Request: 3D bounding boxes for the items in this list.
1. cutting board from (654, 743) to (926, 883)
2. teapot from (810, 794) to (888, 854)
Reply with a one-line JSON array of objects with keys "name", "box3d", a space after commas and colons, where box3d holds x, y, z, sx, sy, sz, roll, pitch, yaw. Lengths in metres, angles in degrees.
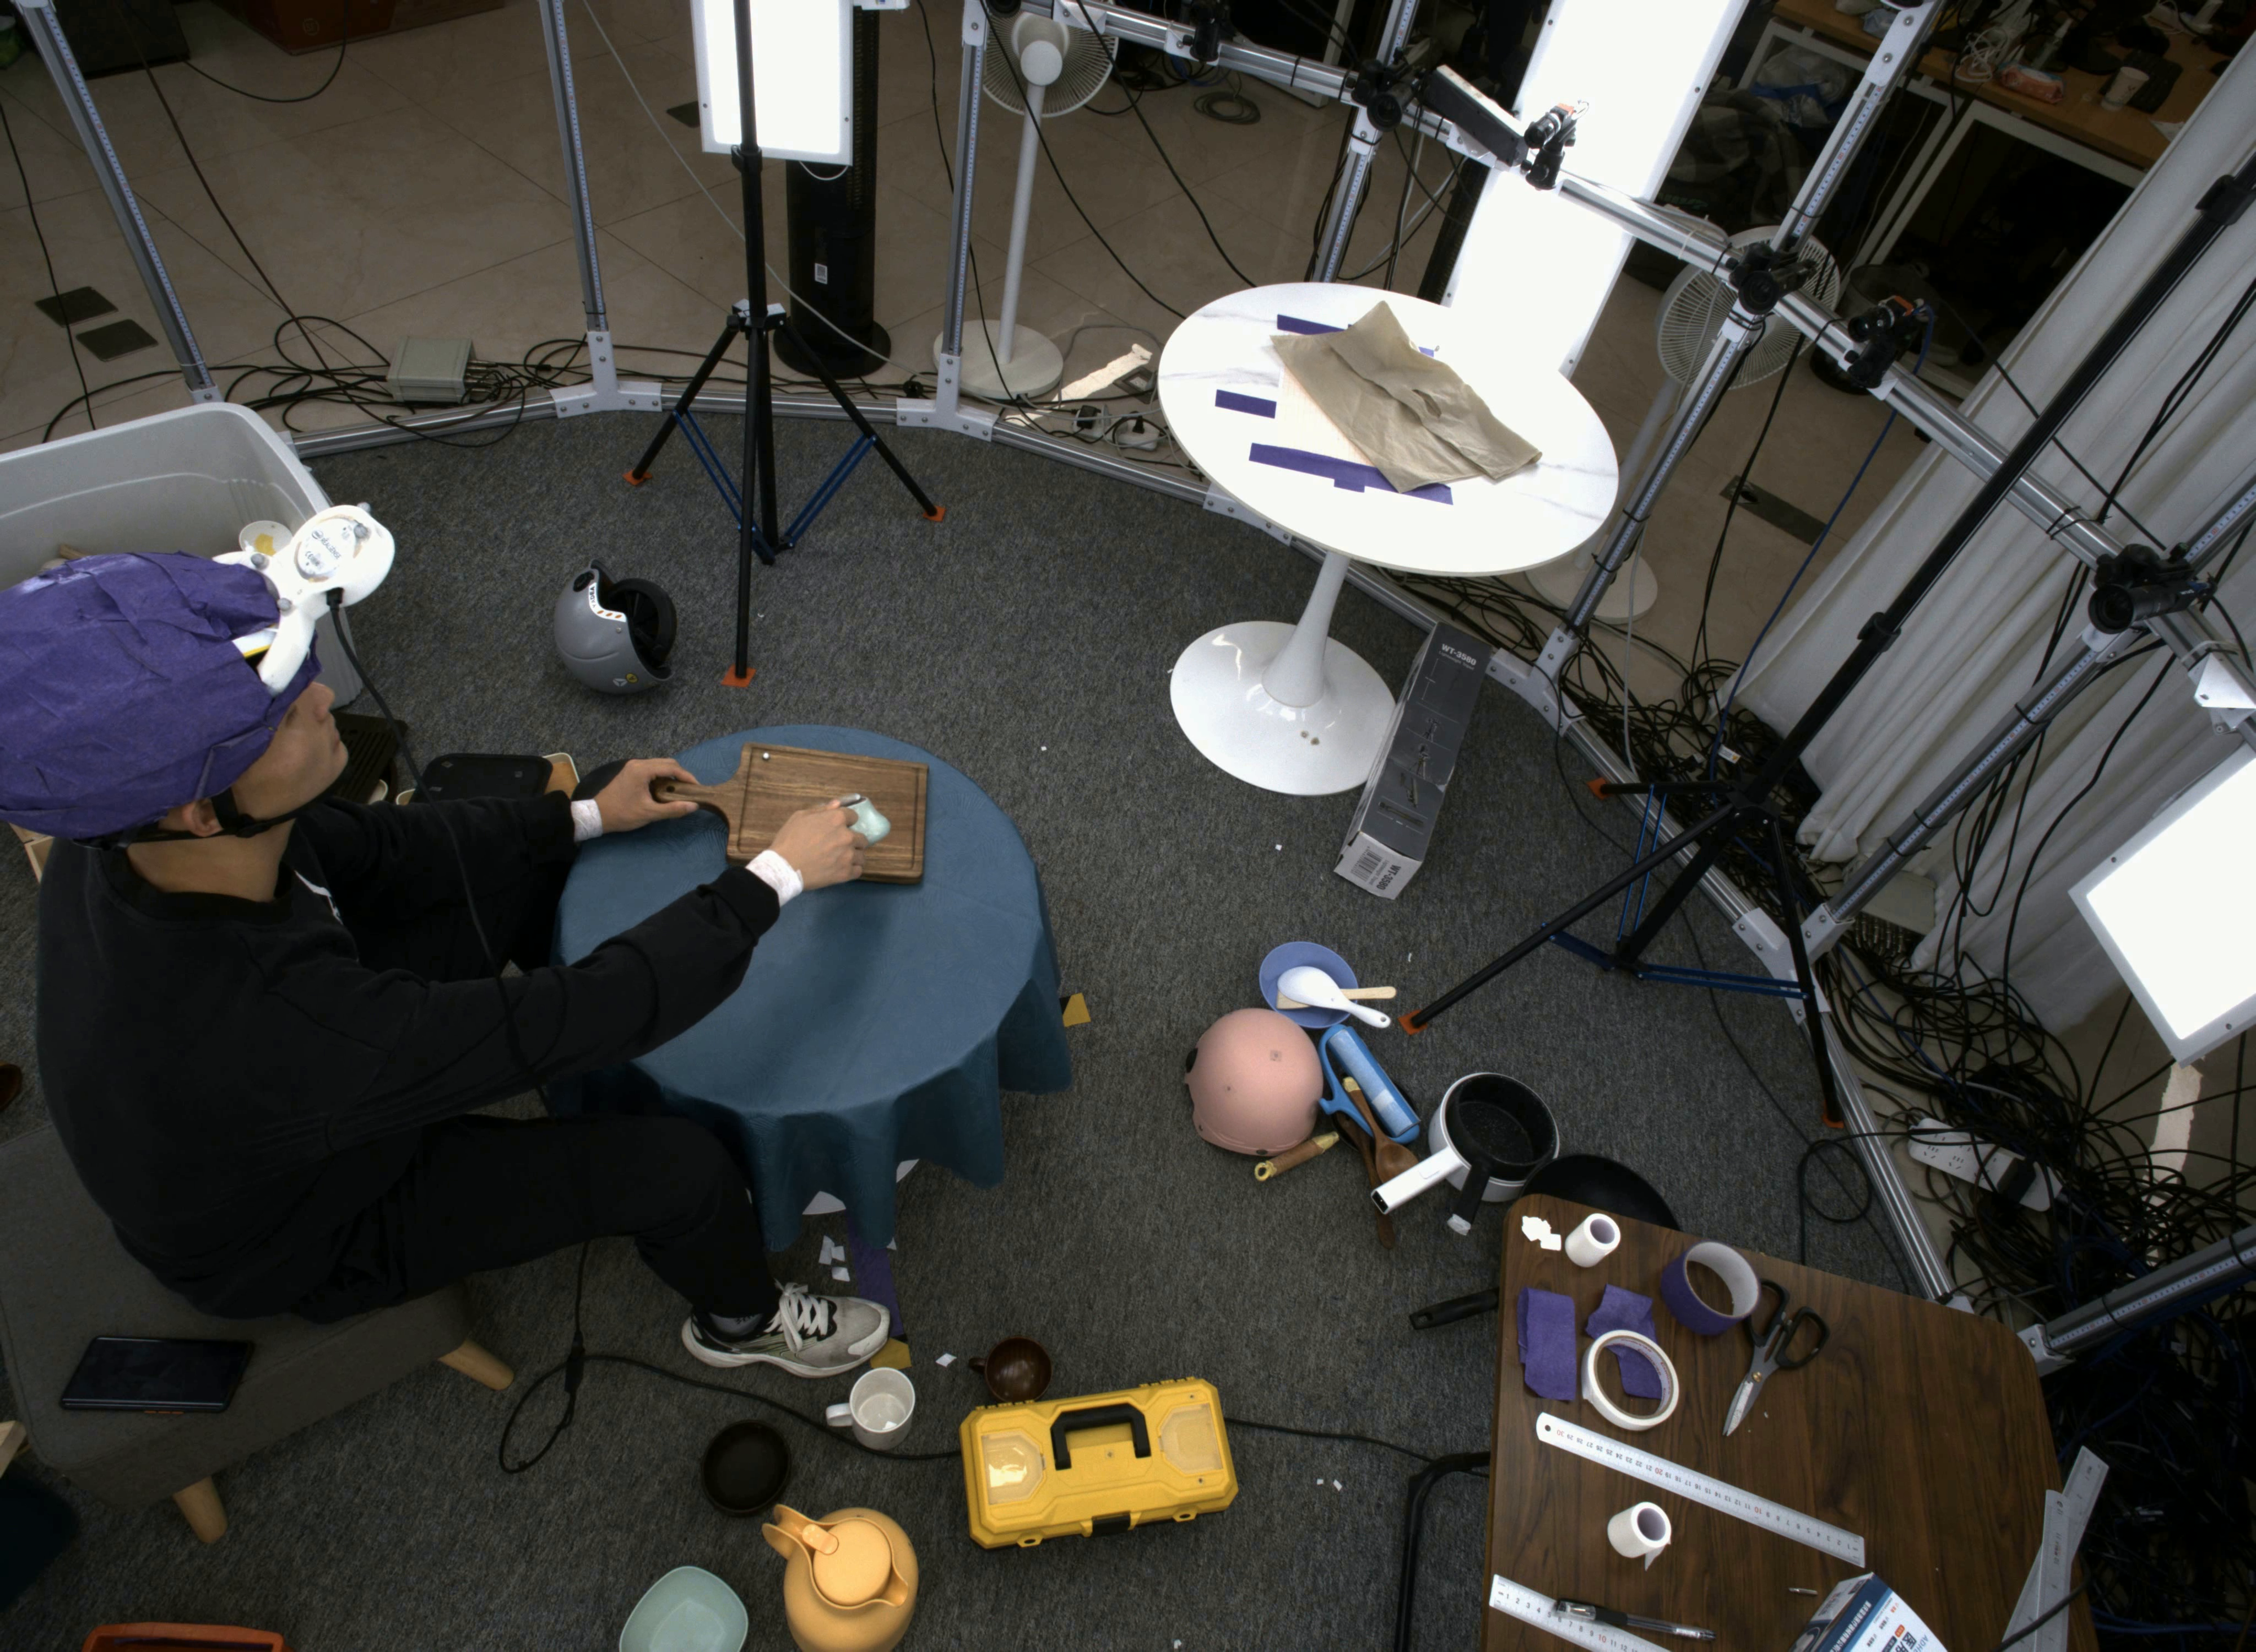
[{"name": "cutting board", "box3d": [-0.441, -0.024, 1.701, 0.354, 0.023, 0.197, 6, 52, -17]}, {"name": "teapot", "box3d": [-0.344, -0.003, 1.585, 0.096, 0.134, 0.063, -14, 100, -7]}]
